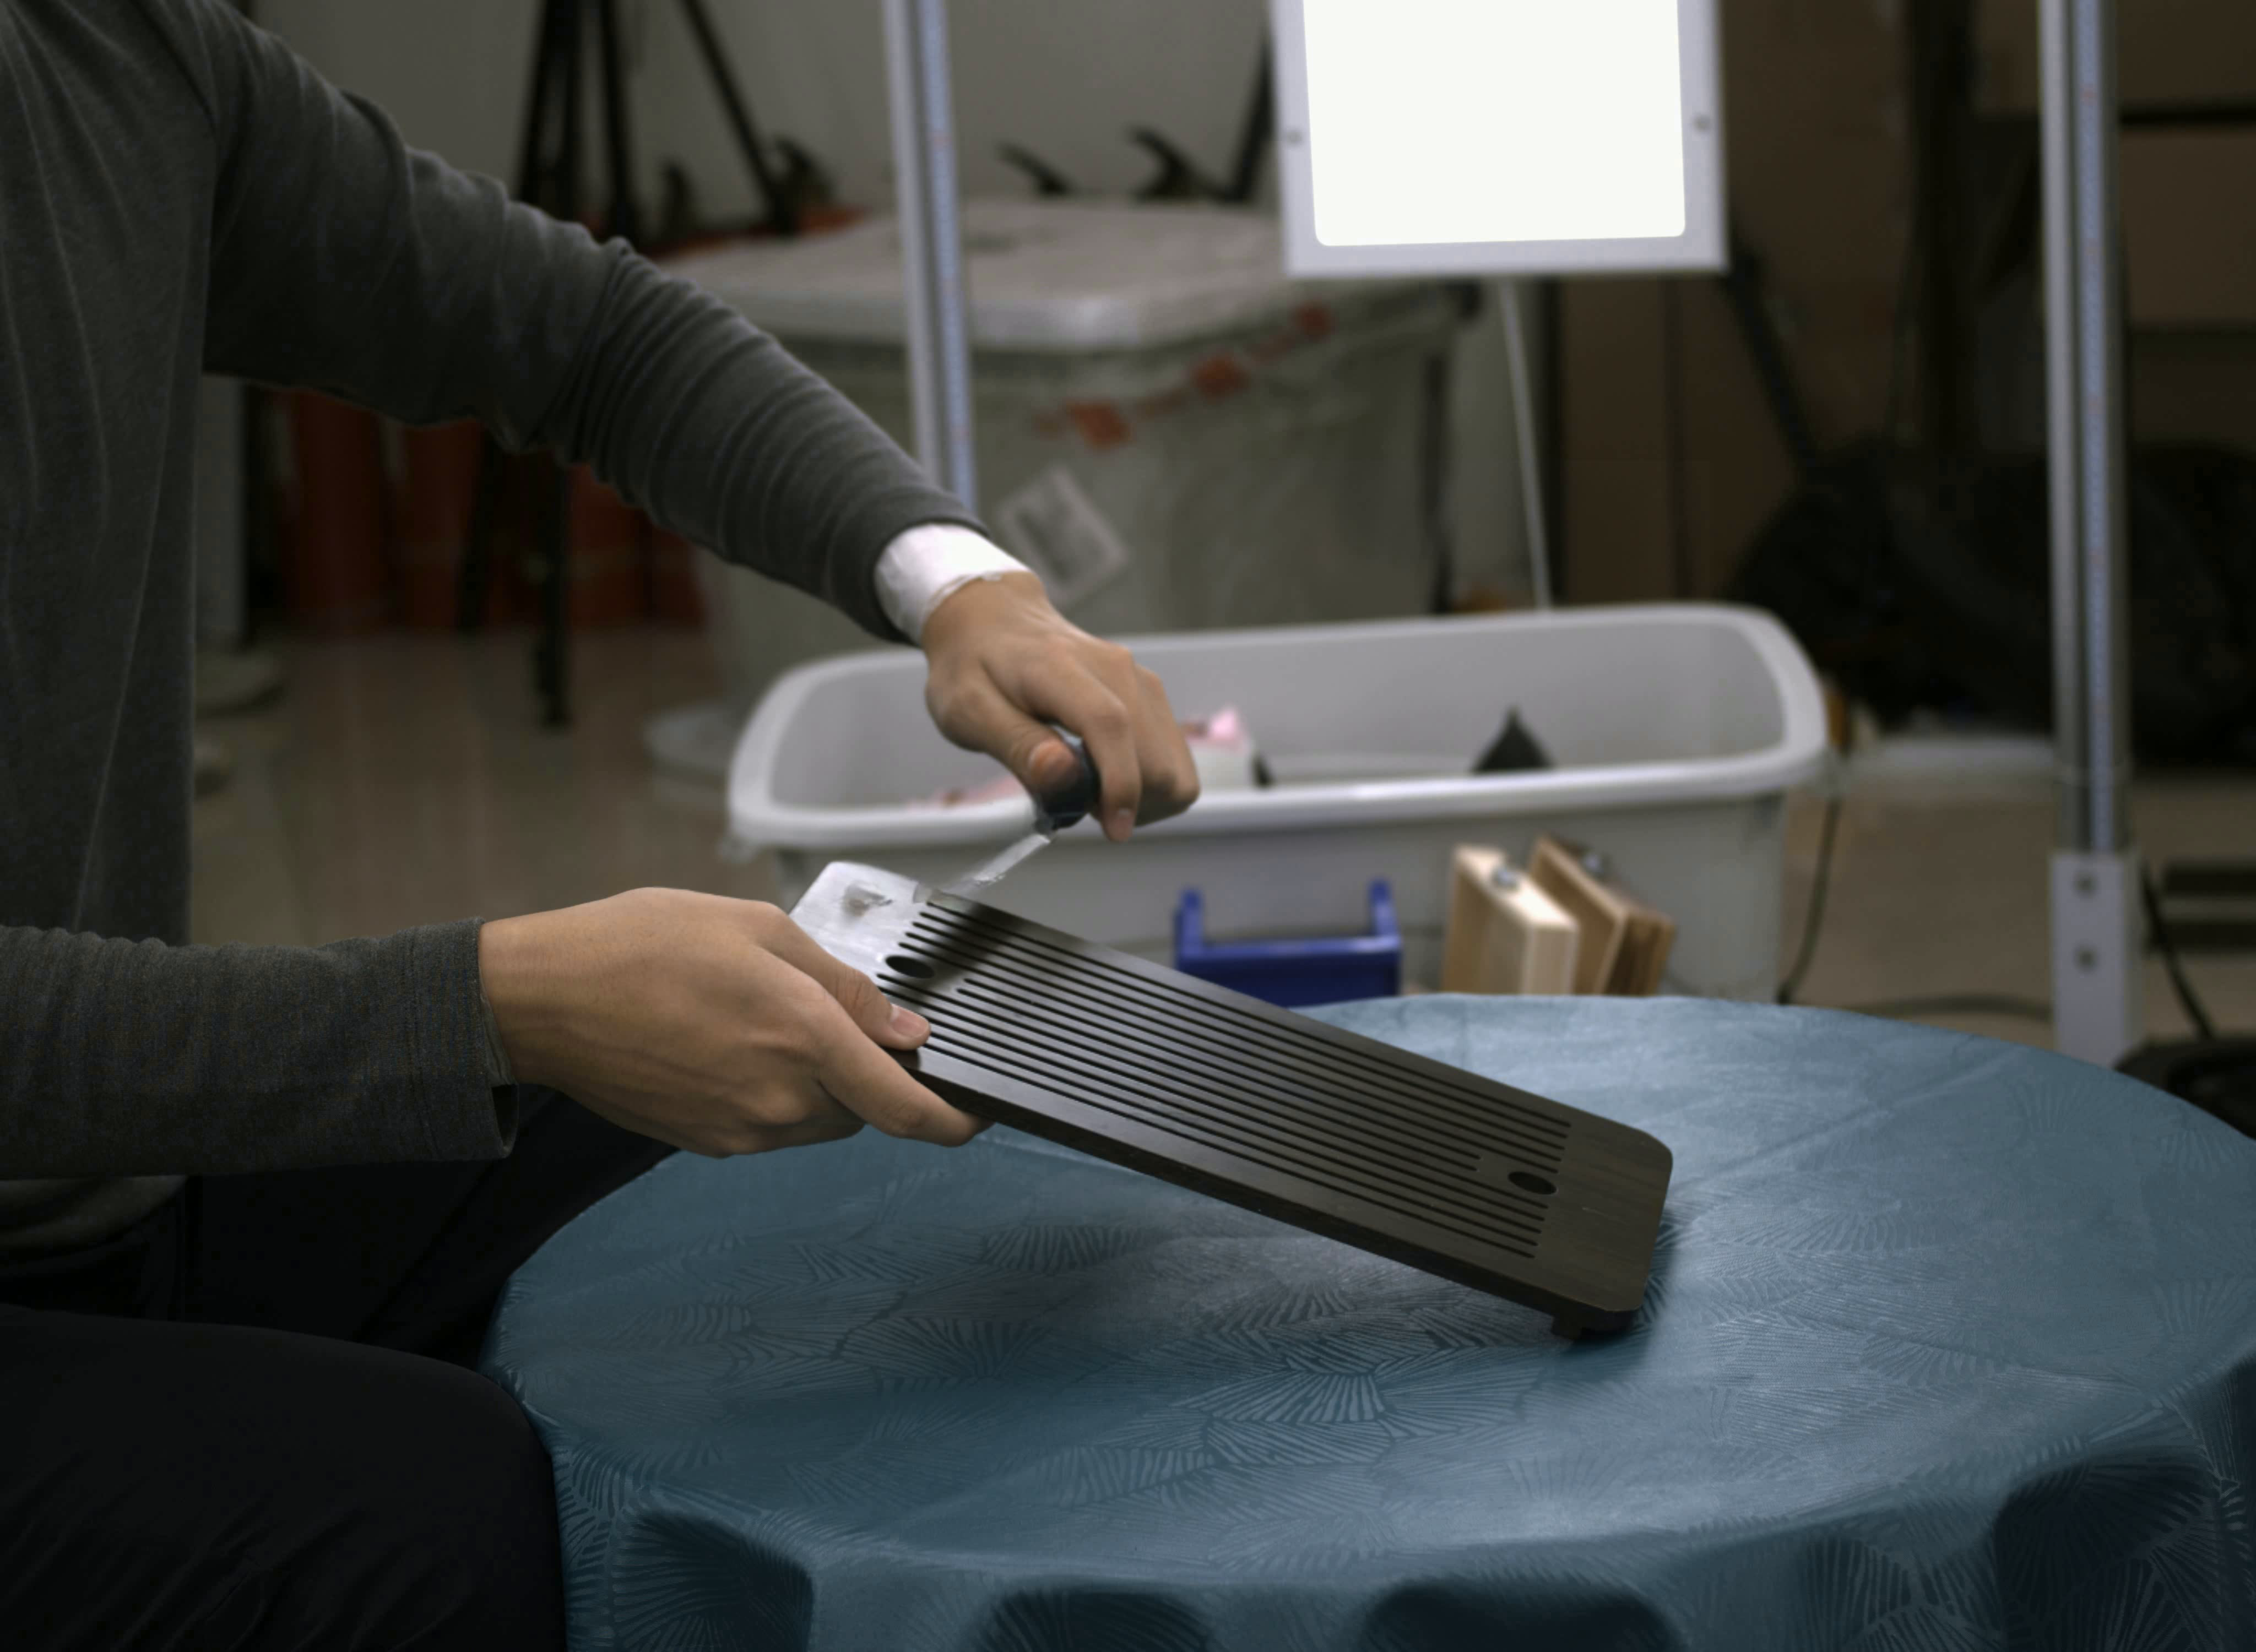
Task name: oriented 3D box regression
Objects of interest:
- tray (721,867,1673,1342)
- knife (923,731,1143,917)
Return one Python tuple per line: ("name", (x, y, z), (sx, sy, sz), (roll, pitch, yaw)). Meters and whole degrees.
("tray", (0.026, 0.089, 1.793), (0.306, 0.019, 0.168), (19, 18, 6))
("knife", (-0.036, -0.001, 1.915), (0.024, 0.016, 0.234), (30, 21, 7))
